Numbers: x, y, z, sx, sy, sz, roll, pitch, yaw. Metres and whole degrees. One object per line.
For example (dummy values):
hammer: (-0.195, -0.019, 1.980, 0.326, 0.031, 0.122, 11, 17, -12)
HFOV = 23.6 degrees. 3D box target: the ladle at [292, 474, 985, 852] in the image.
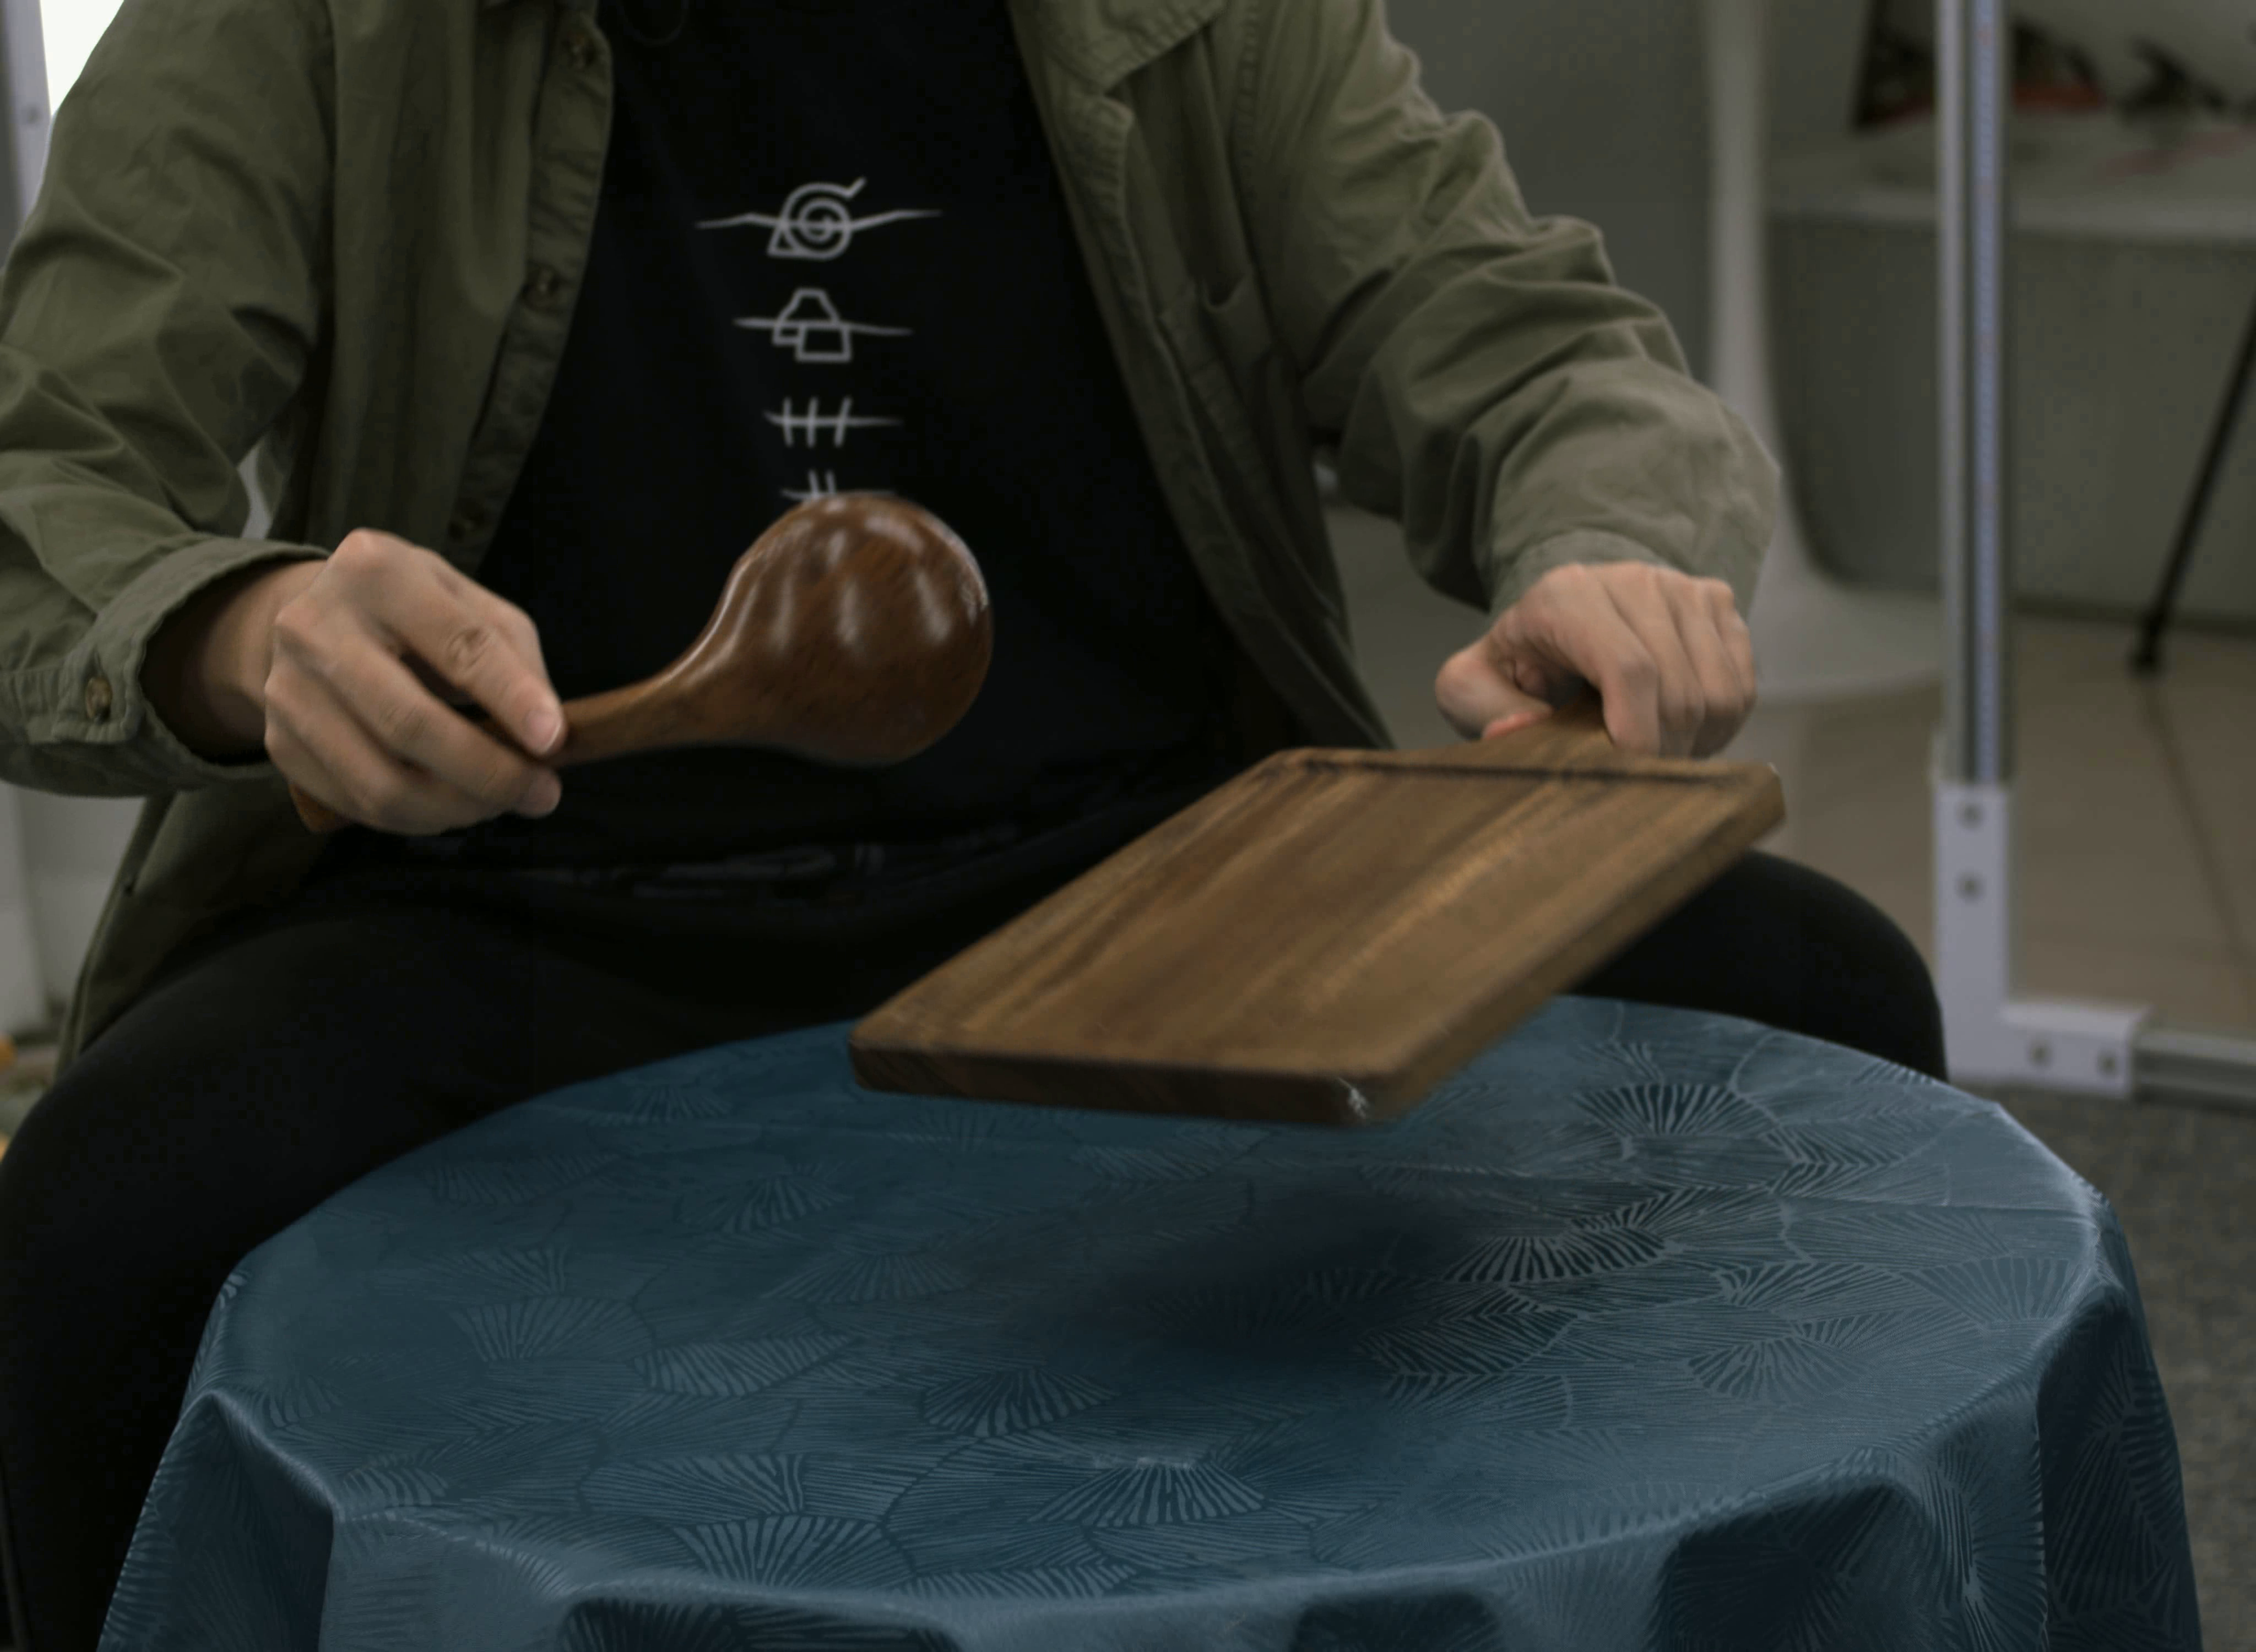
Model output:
ladle: (-0.152, -0.042, 1.648, 0.276, 0.082, 0.075, -15, 11, 47)

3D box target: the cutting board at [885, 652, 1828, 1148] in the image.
cutting board: (0.100, 0.015, 1.674, 0.202, 0.023, 0.347, 3, 23, 38)
